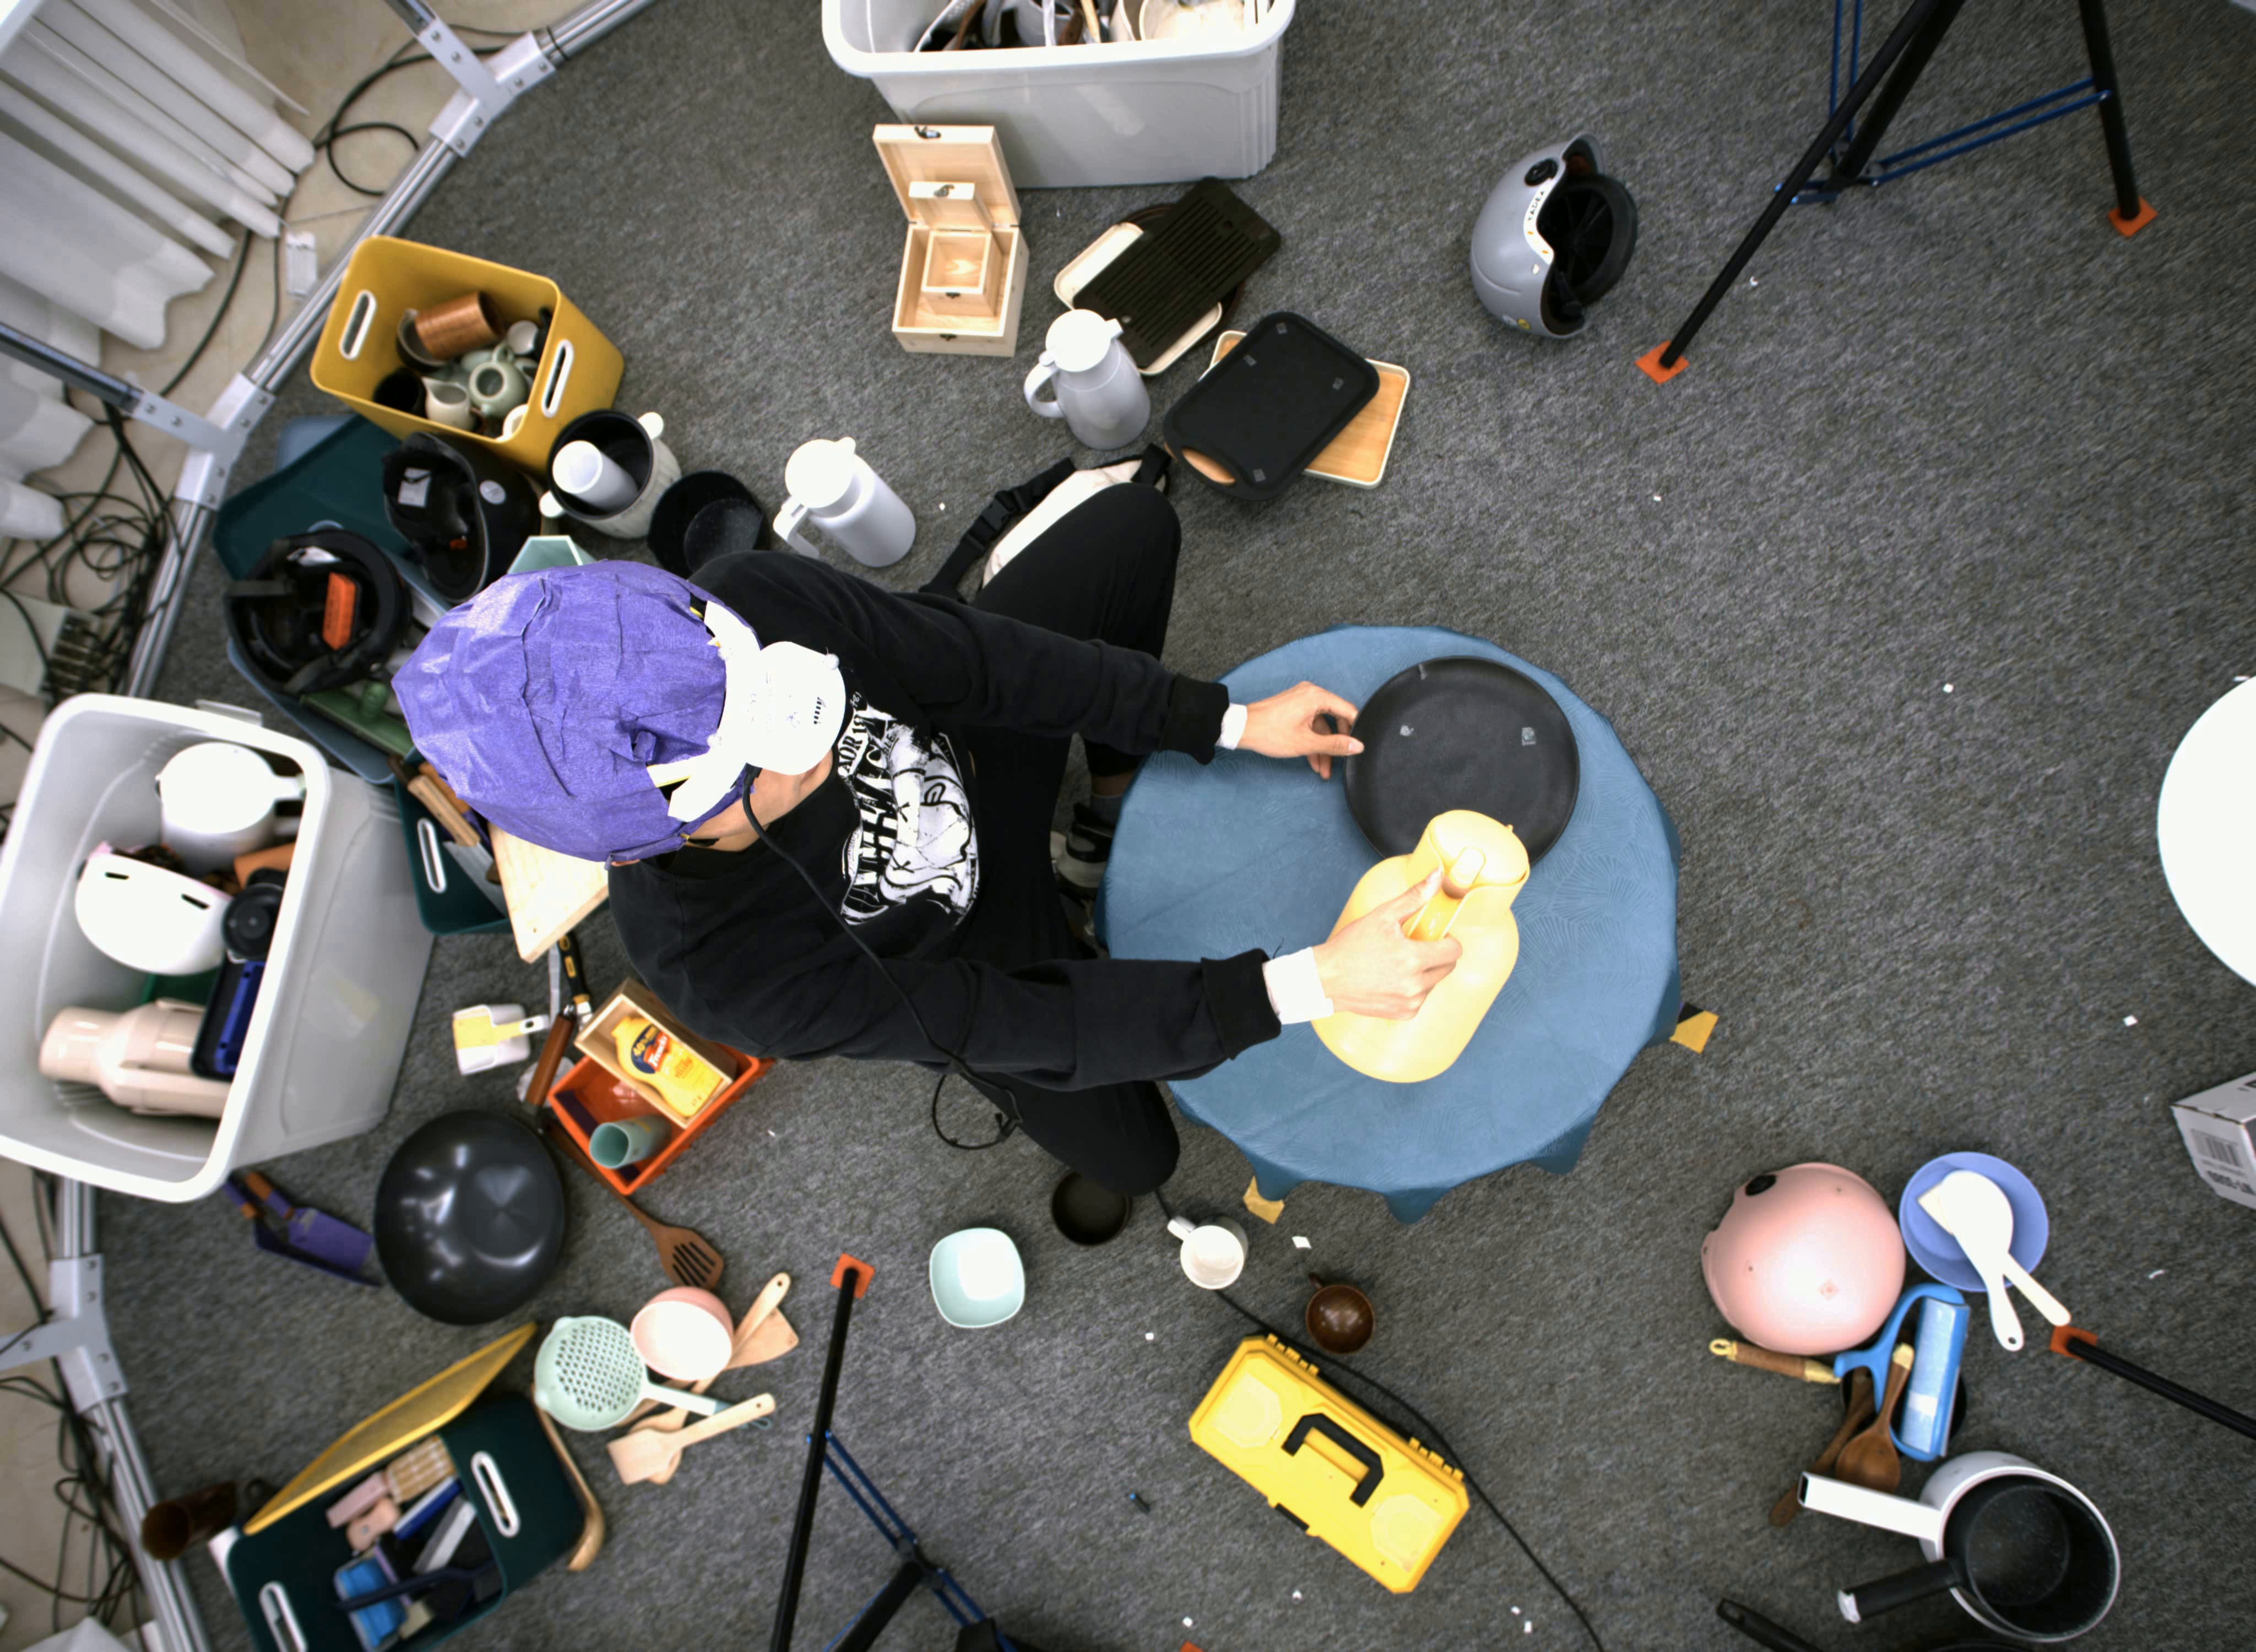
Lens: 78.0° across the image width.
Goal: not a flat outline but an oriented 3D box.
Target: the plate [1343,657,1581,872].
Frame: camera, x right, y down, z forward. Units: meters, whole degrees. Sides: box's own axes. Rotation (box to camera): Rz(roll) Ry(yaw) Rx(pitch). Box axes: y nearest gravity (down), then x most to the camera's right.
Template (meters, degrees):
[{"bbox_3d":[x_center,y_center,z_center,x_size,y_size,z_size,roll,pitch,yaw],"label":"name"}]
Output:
[{"bbox_3d":[0.347,-0.057,1.432,0.245,0.023,0.244,0,90,6],"label":"plate"}]

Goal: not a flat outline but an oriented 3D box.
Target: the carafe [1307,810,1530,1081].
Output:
[{"bbox_3d":[0.266,0.112,1.267,0.163,0.198,0.267,32,131,16],"label":"carafe"}]
